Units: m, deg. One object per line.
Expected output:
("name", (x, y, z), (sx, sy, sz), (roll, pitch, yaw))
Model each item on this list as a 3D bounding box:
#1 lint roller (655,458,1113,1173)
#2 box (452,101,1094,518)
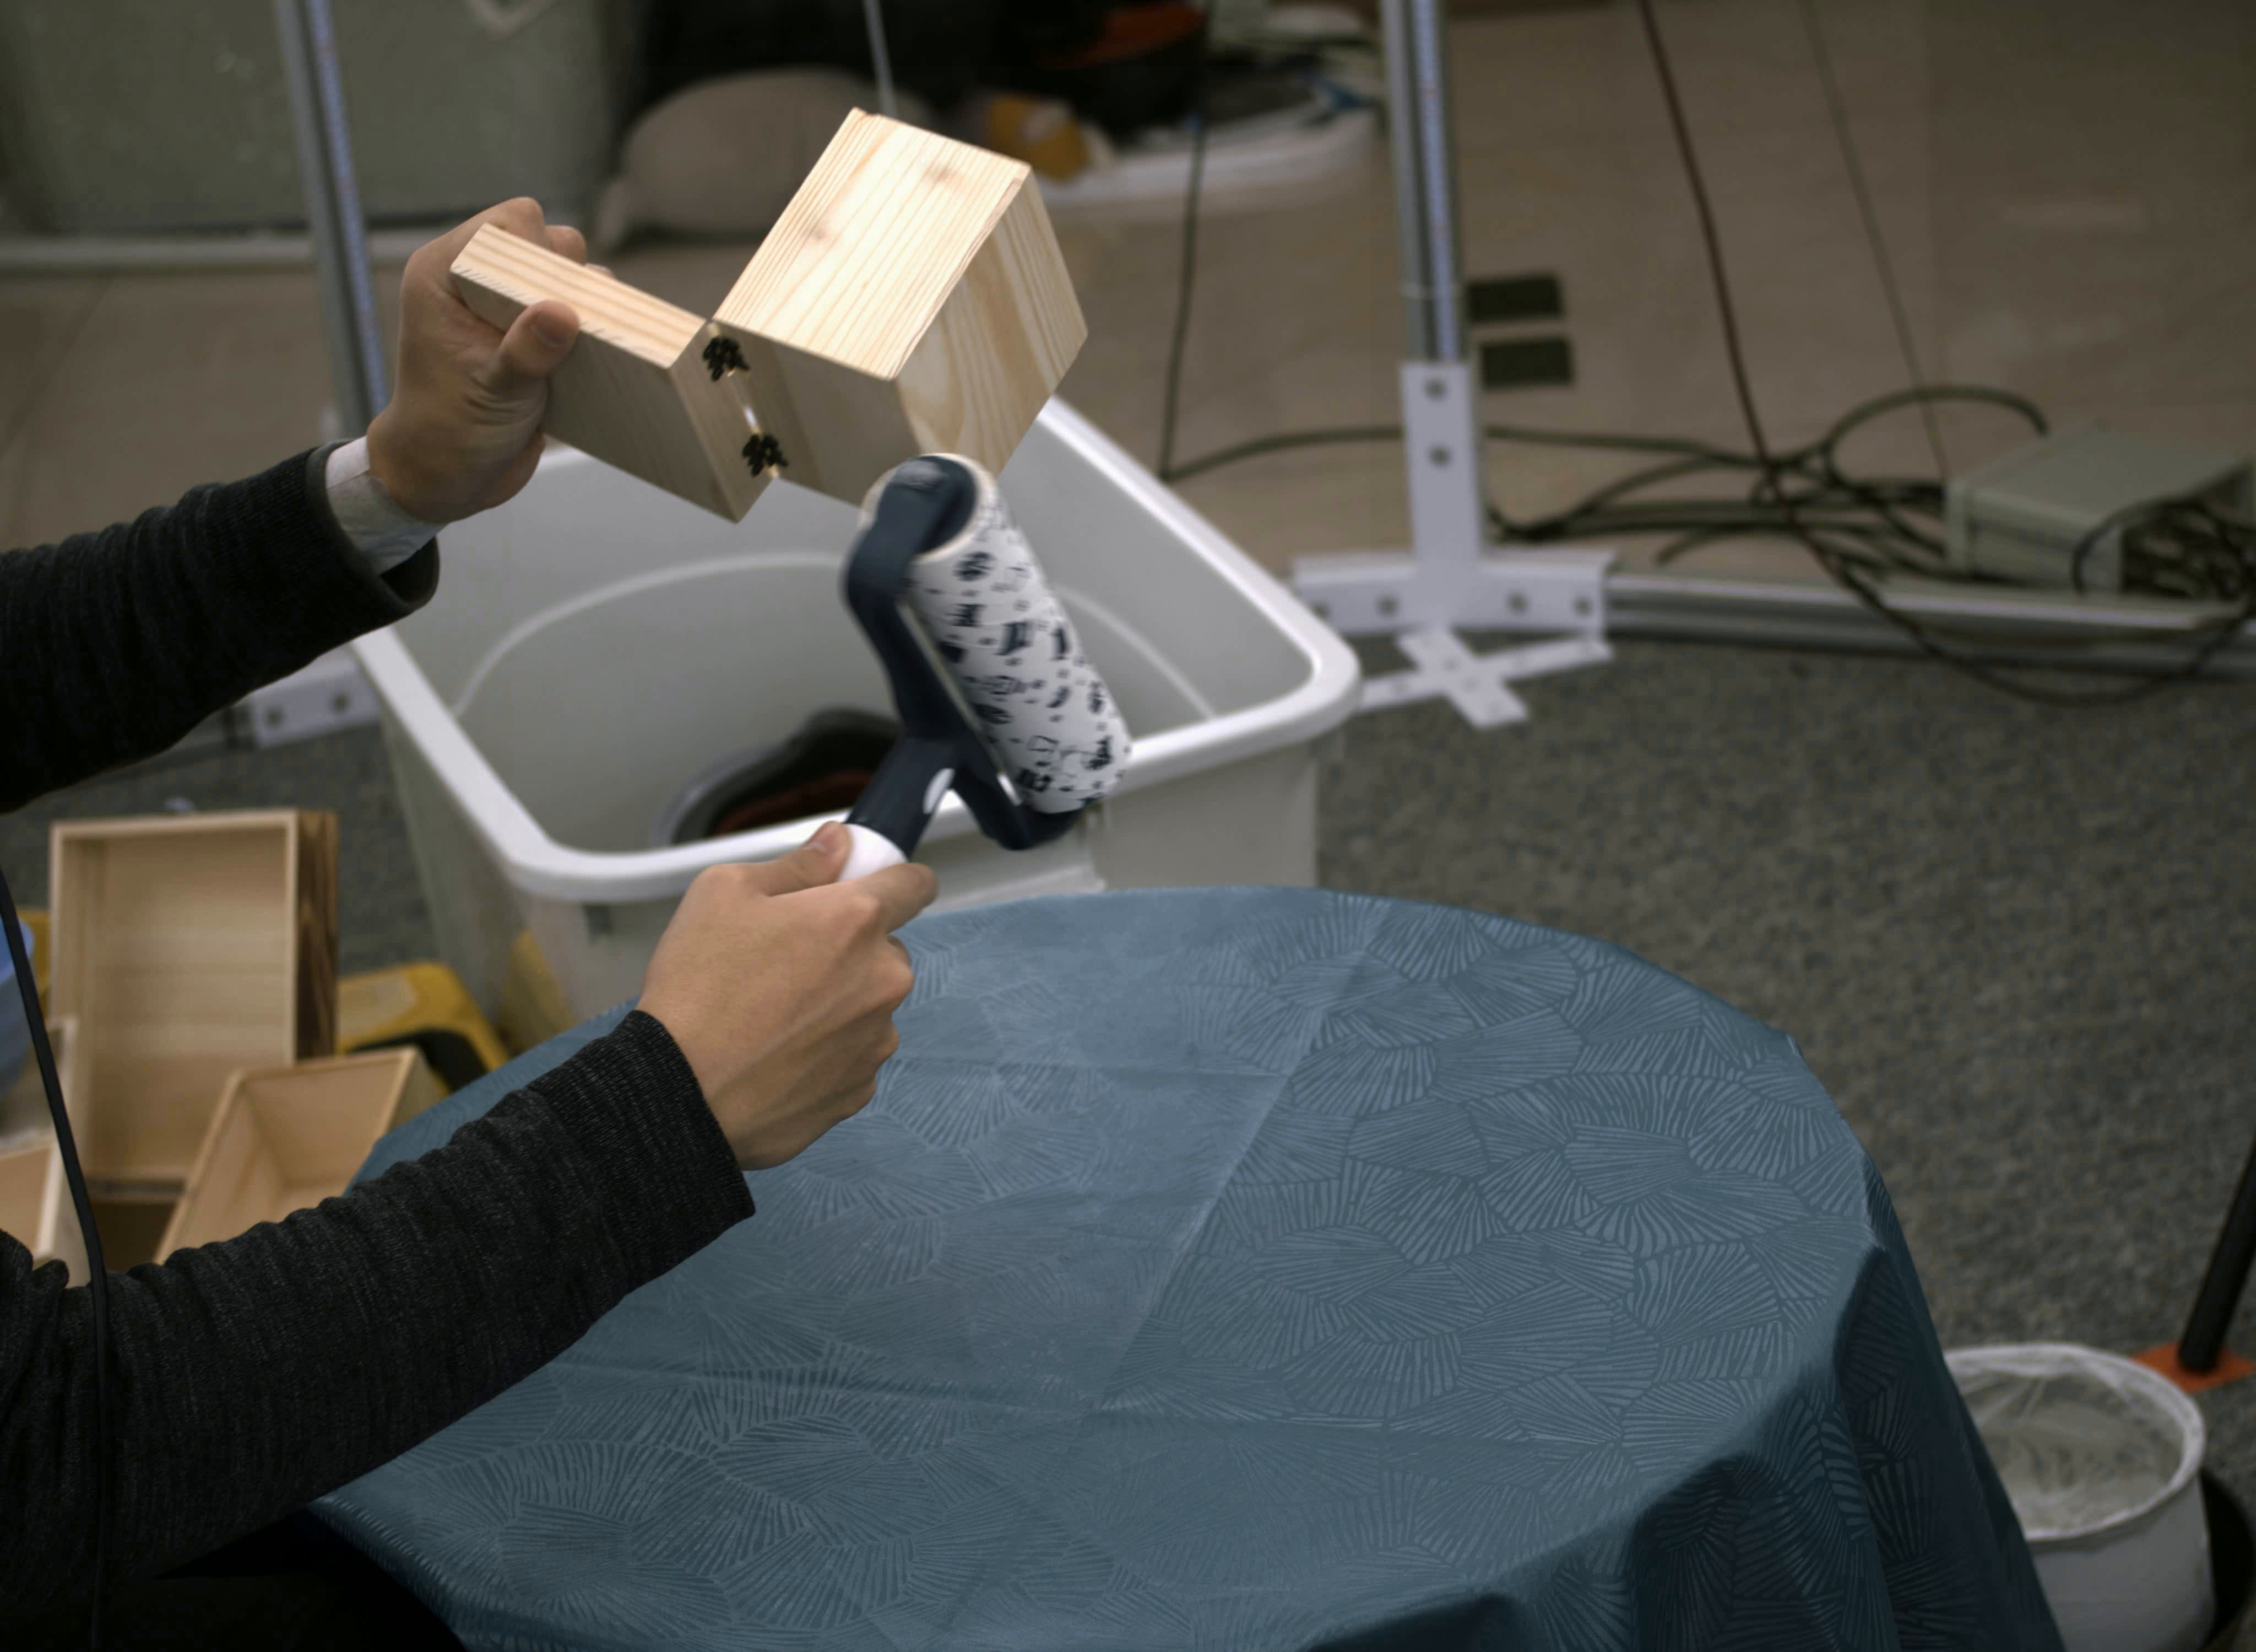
("lint roller", (-0.093, 0.016, 1.972), (0.050, 0.179, 0.244), (13, 65, 29))
("box", (-0.128, -0.194, 2.058), (0.183, 0.104, 0.132), (20, 66, 23))
